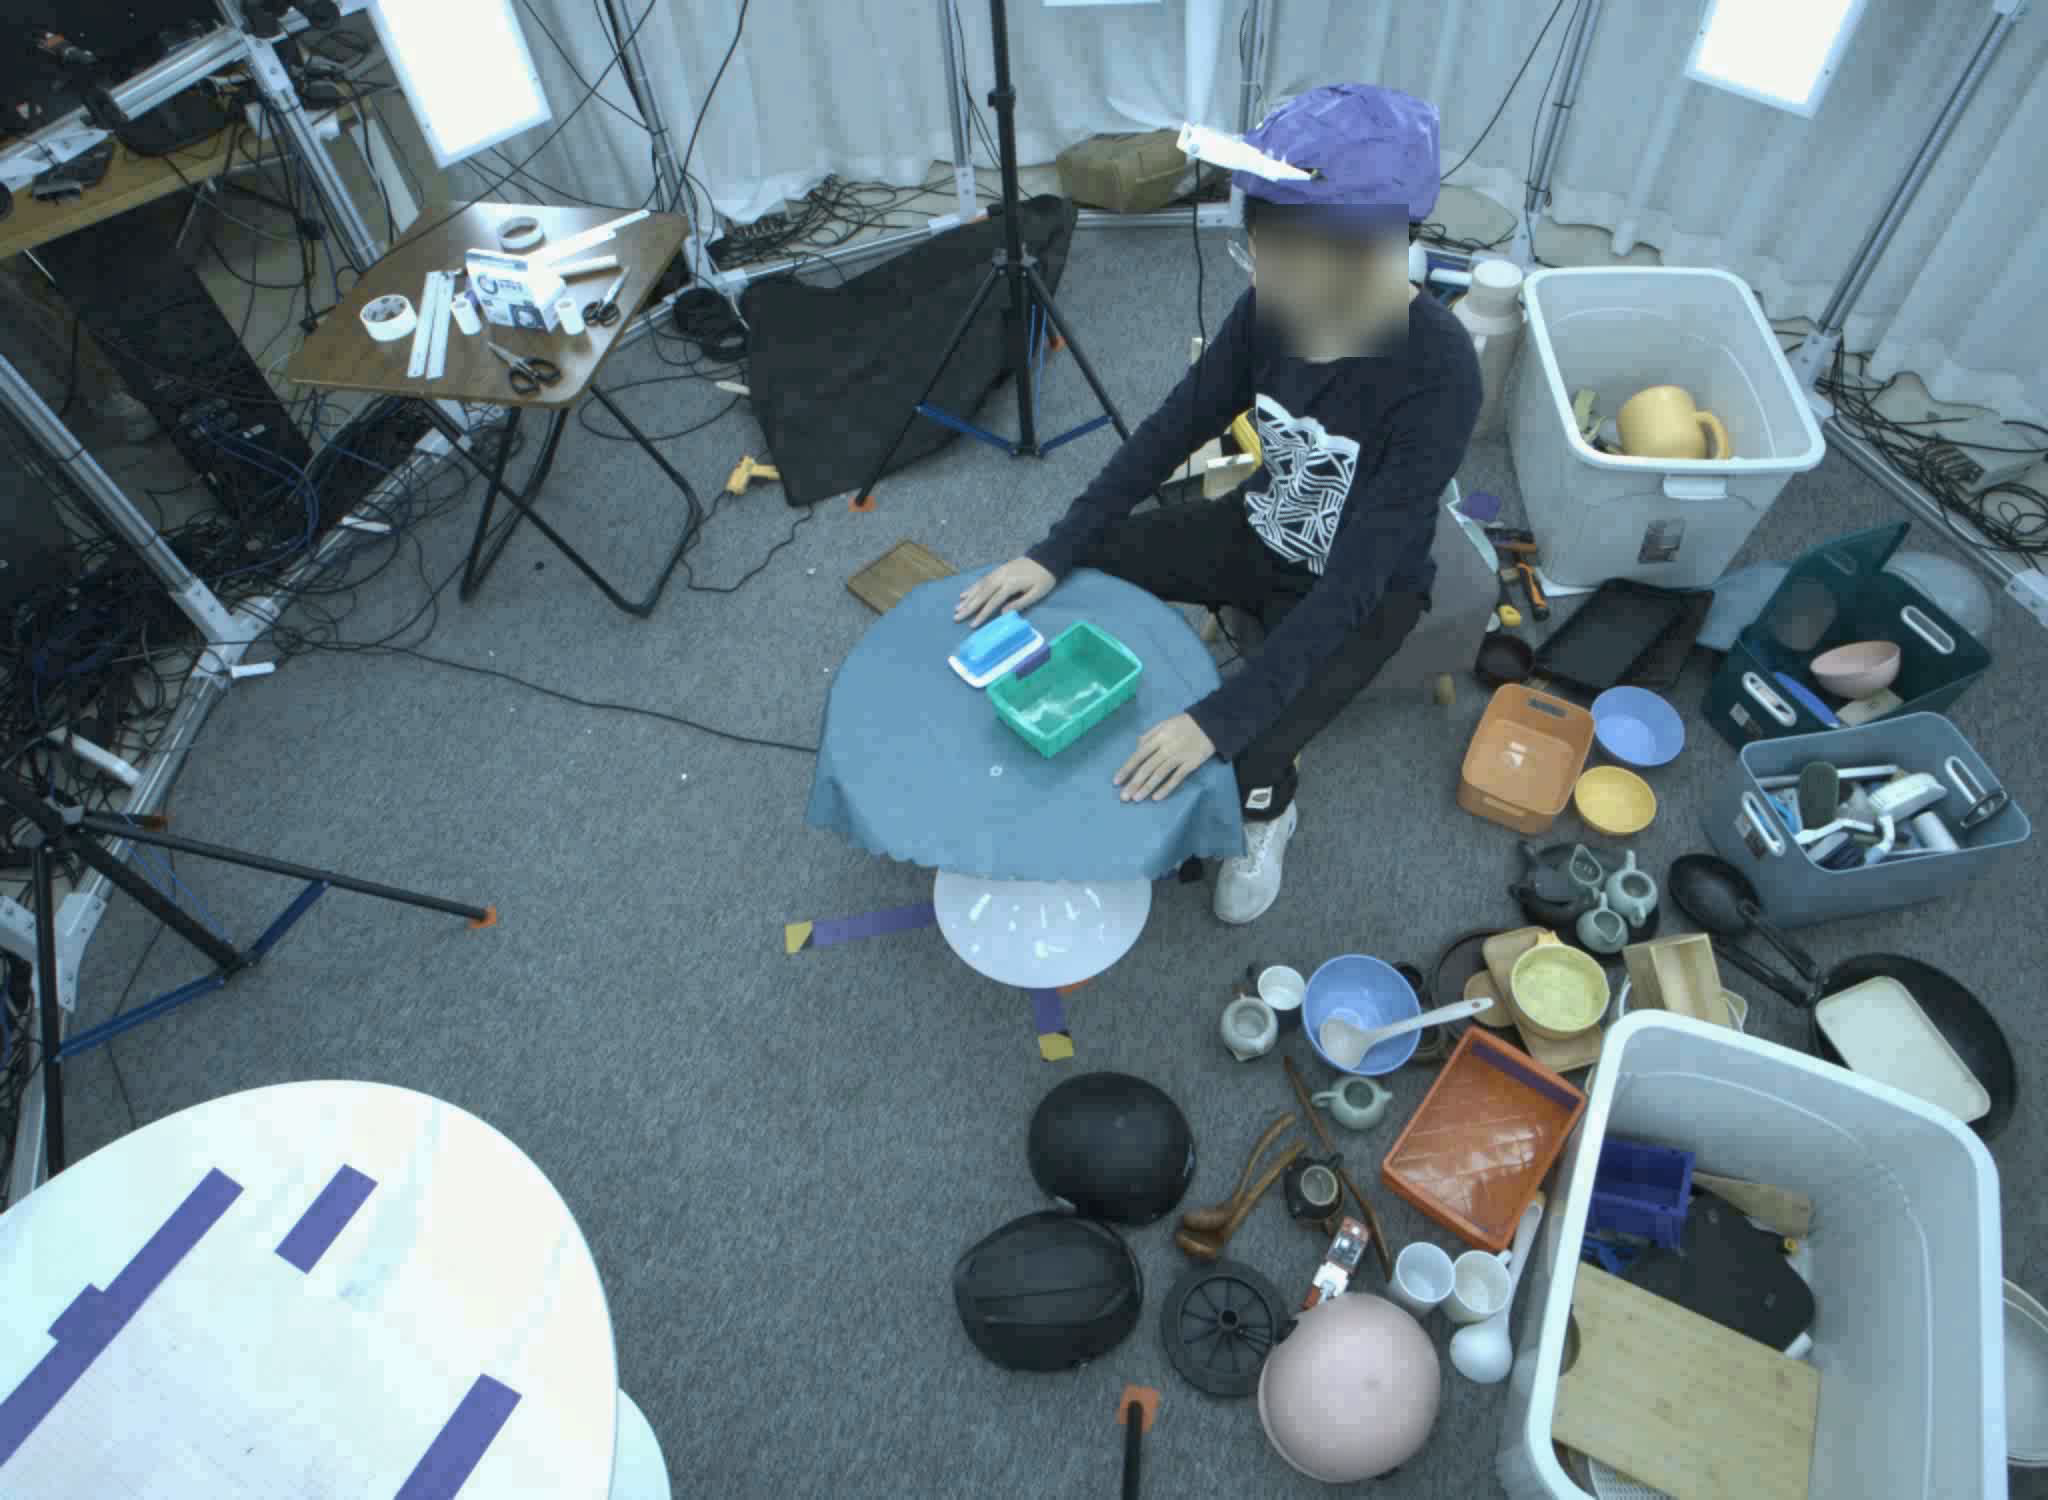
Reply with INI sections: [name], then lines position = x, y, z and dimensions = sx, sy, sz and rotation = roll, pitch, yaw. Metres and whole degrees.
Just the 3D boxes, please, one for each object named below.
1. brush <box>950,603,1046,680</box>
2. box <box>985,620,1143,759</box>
[brush]
position = -0.041, -0.173, 1.863
dimensions = 0.145, 0.056, 0.082
rotation = -38, 63, -16
[box]
position = 0.061, -0.086, 1.801
dimensions = 0.212, 0.066, 0.136
rotation = -39, 59, -22
